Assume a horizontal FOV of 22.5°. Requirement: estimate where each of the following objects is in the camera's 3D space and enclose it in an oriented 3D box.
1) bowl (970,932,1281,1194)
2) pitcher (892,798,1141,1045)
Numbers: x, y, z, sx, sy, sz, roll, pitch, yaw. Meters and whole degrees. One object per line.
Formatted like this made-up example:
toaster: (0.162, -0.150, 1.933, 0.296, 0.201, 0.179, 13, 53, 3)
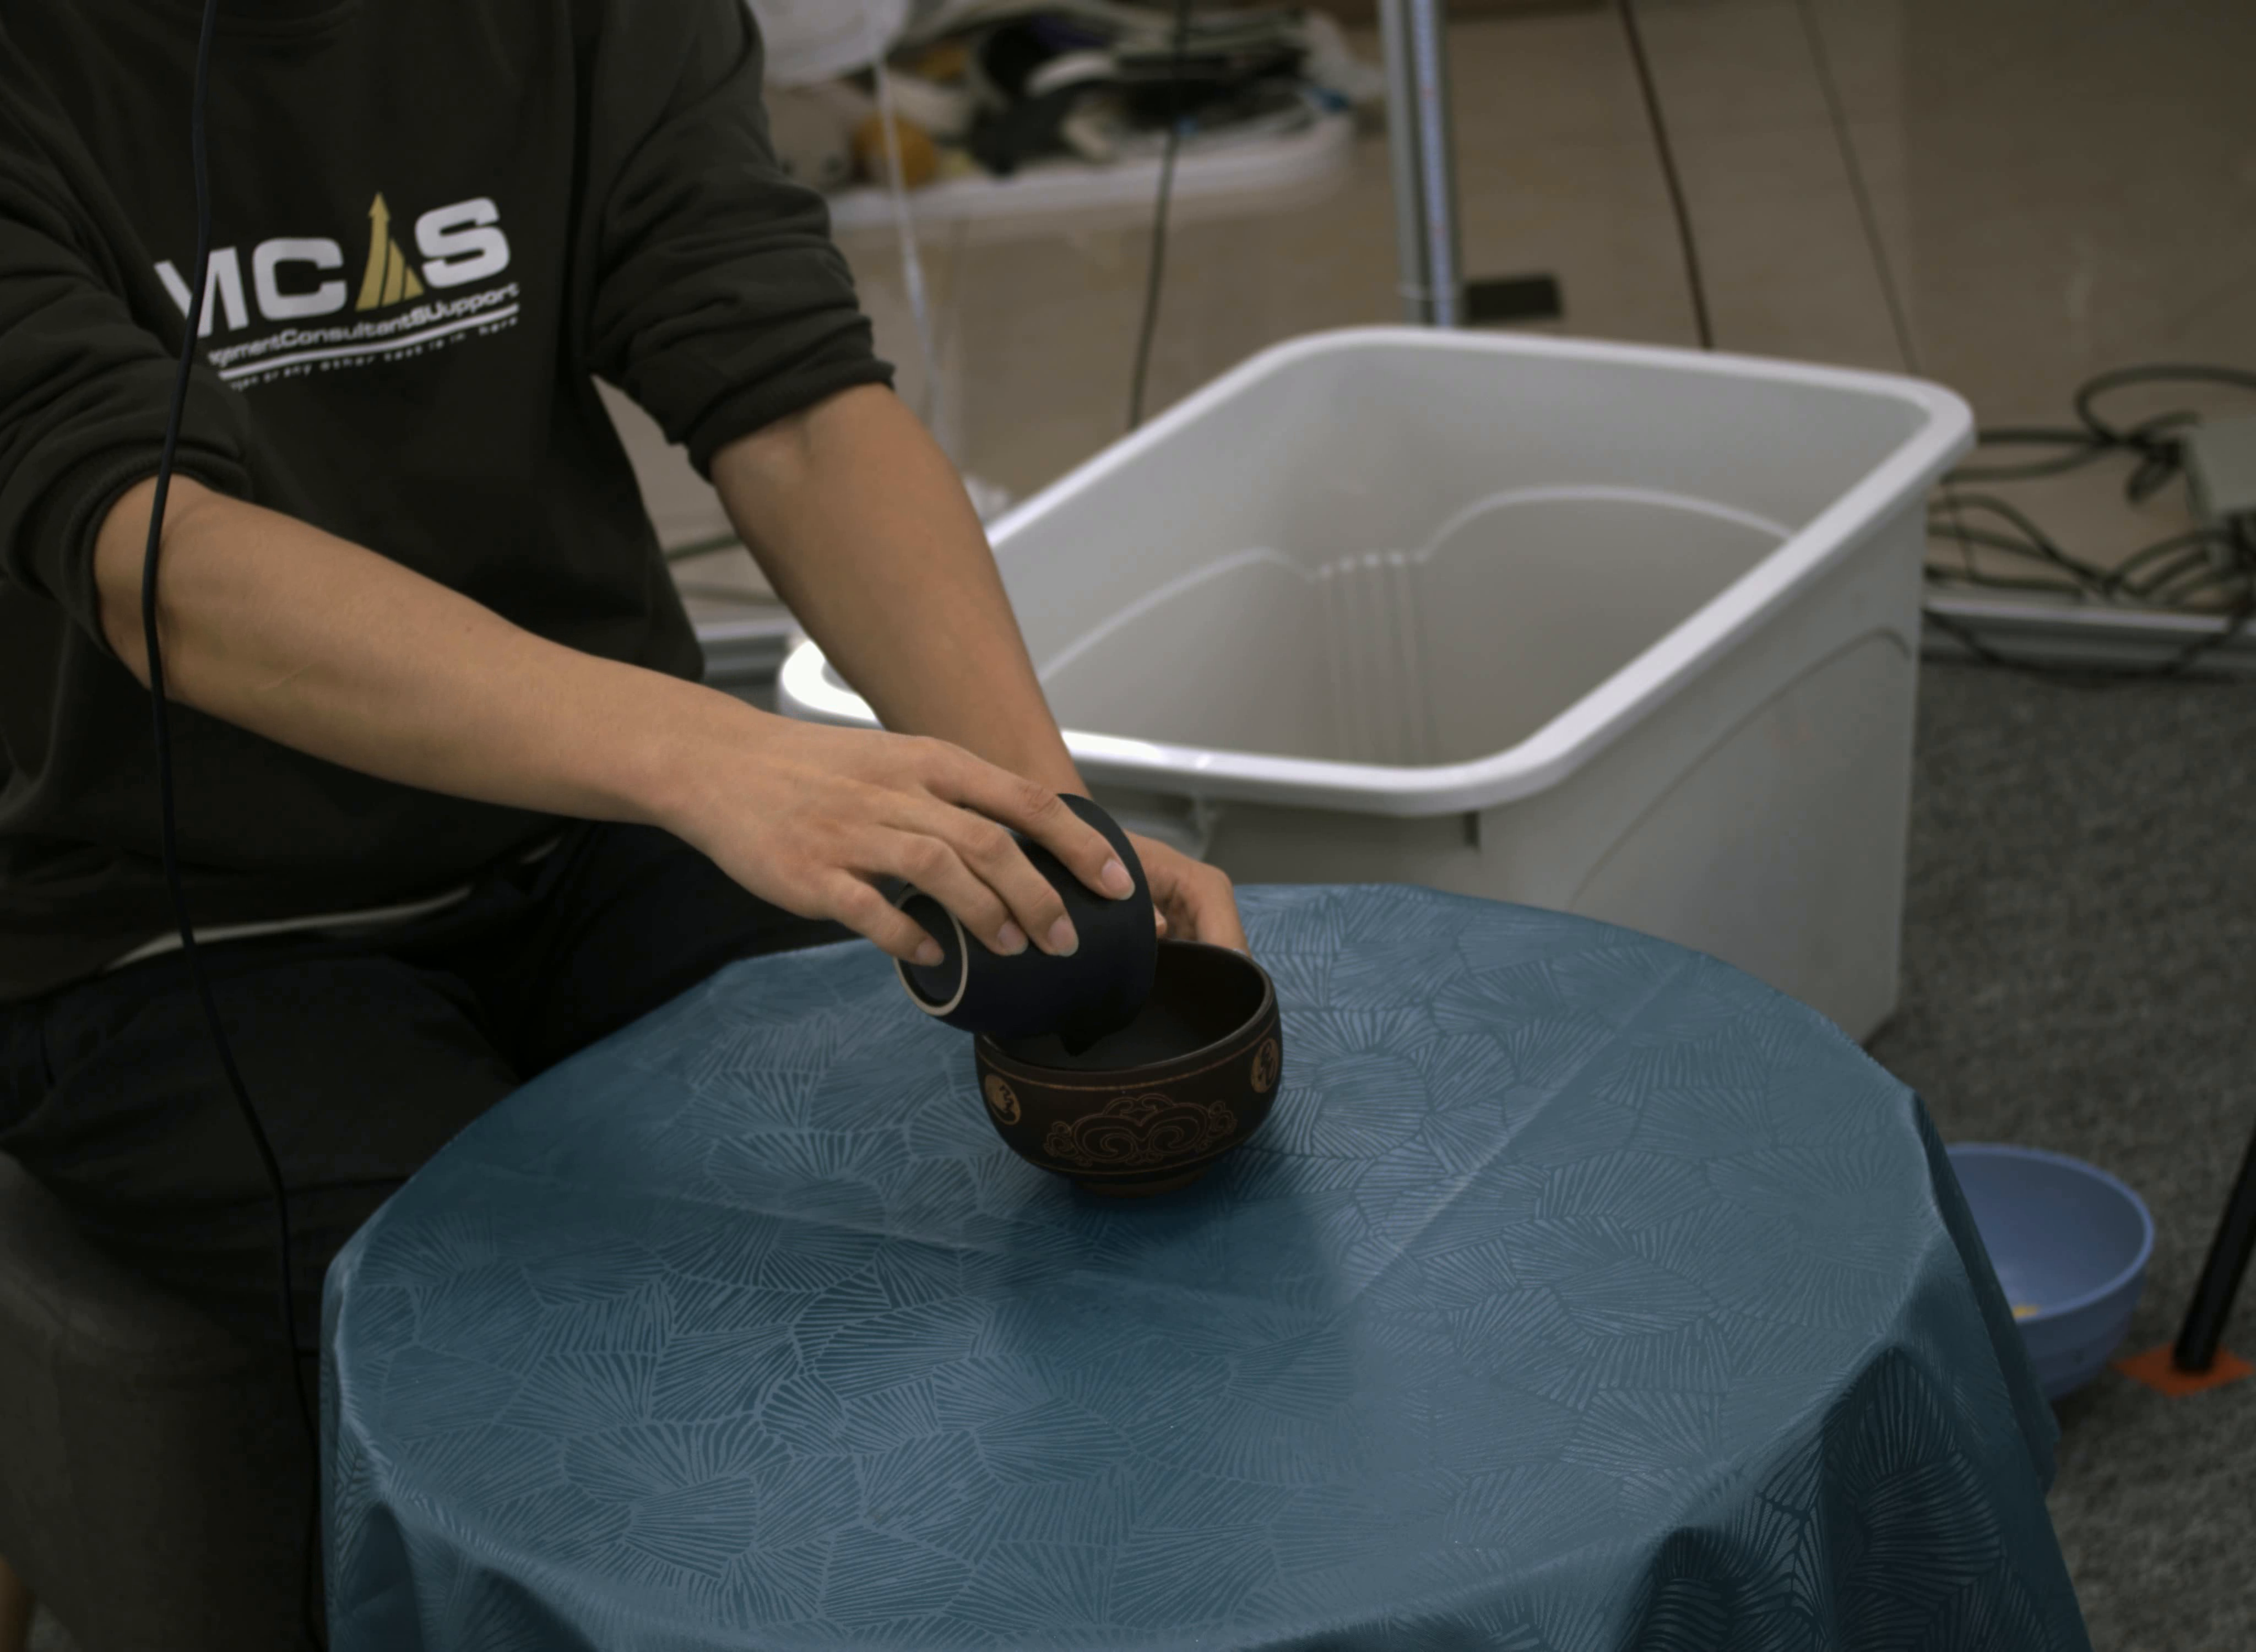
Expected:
bowl: (0.001, 0.096, 2.153, 0.118, 0.071, 0.116, -5, 27, 2)
pitcher: (-0.044, 0.040, 2.099, 0.071, 0.097, 0.083, -12, 15, -38)
